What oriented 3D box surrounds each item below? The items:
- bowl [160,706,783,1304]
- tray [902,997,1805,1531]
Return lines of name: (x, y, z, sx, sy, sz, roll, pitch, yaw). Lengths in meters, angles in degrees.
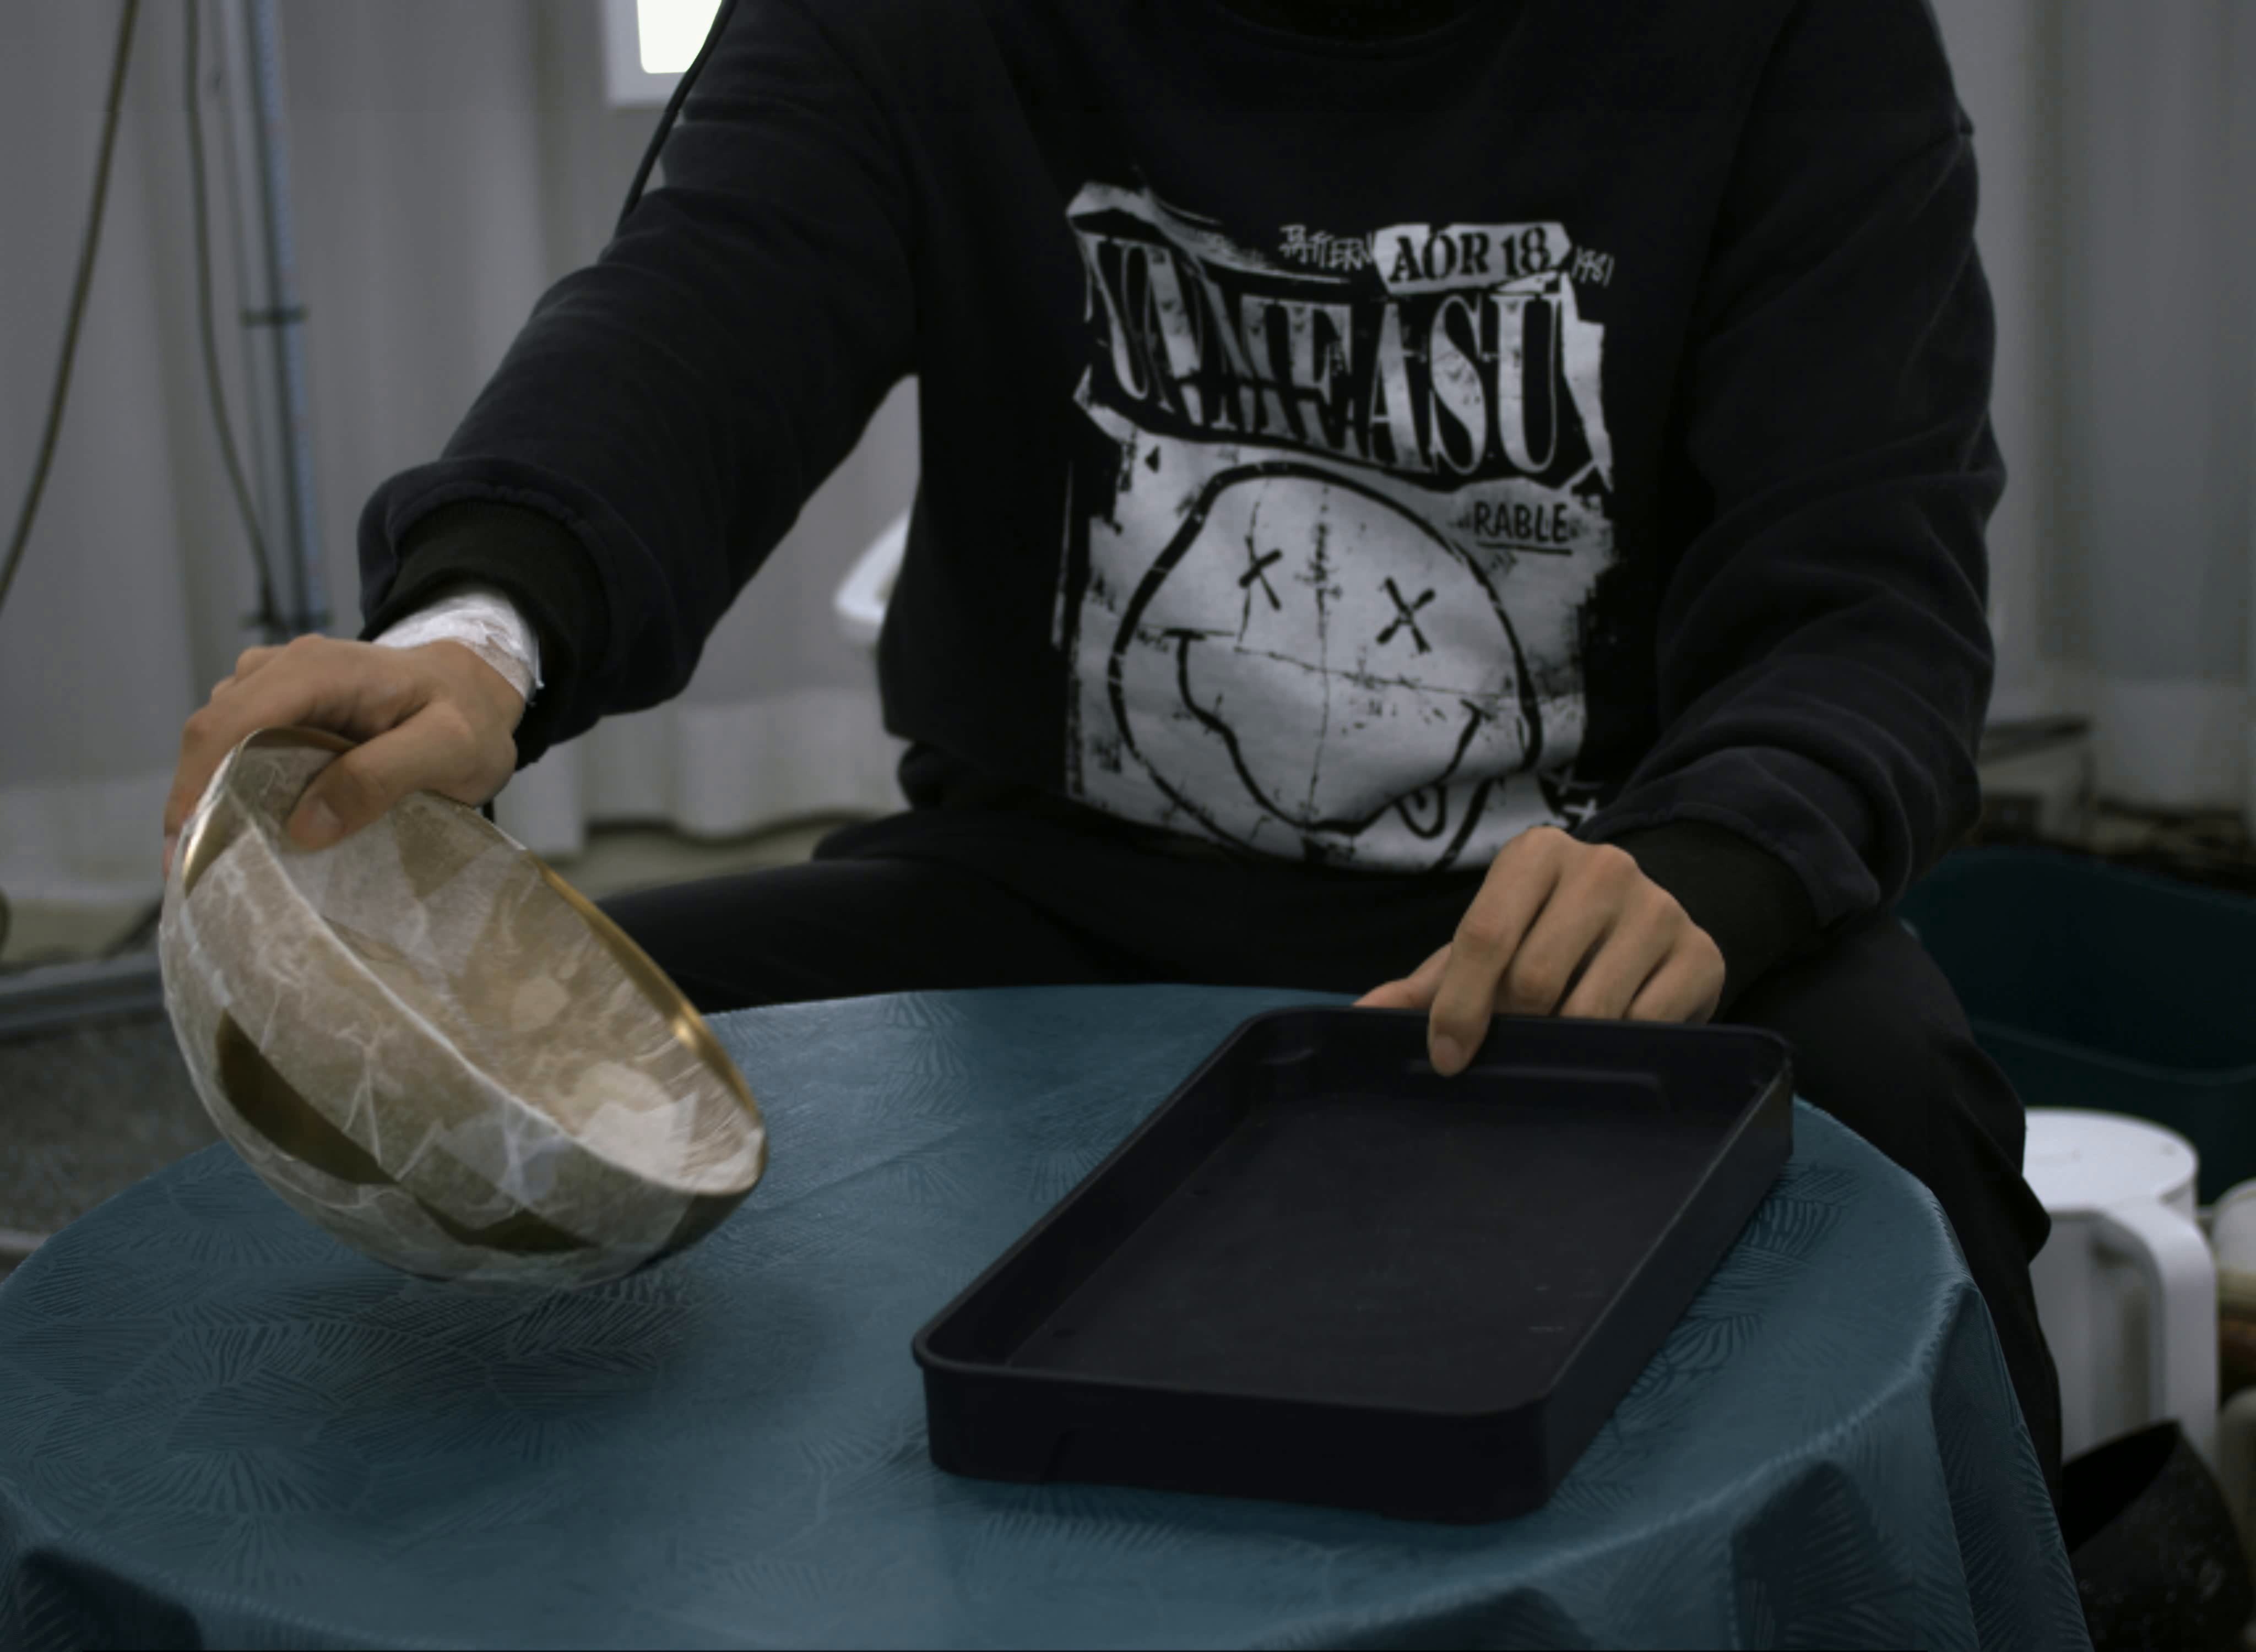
bowl: (-0.208, 0.070, 1.602, 0.213, 0.094, 0.216, 41, 12, -10)
tray: (0.075, 0.120, 1.595, 0.184, 0.037, 0.319, 3, 18, 21)
